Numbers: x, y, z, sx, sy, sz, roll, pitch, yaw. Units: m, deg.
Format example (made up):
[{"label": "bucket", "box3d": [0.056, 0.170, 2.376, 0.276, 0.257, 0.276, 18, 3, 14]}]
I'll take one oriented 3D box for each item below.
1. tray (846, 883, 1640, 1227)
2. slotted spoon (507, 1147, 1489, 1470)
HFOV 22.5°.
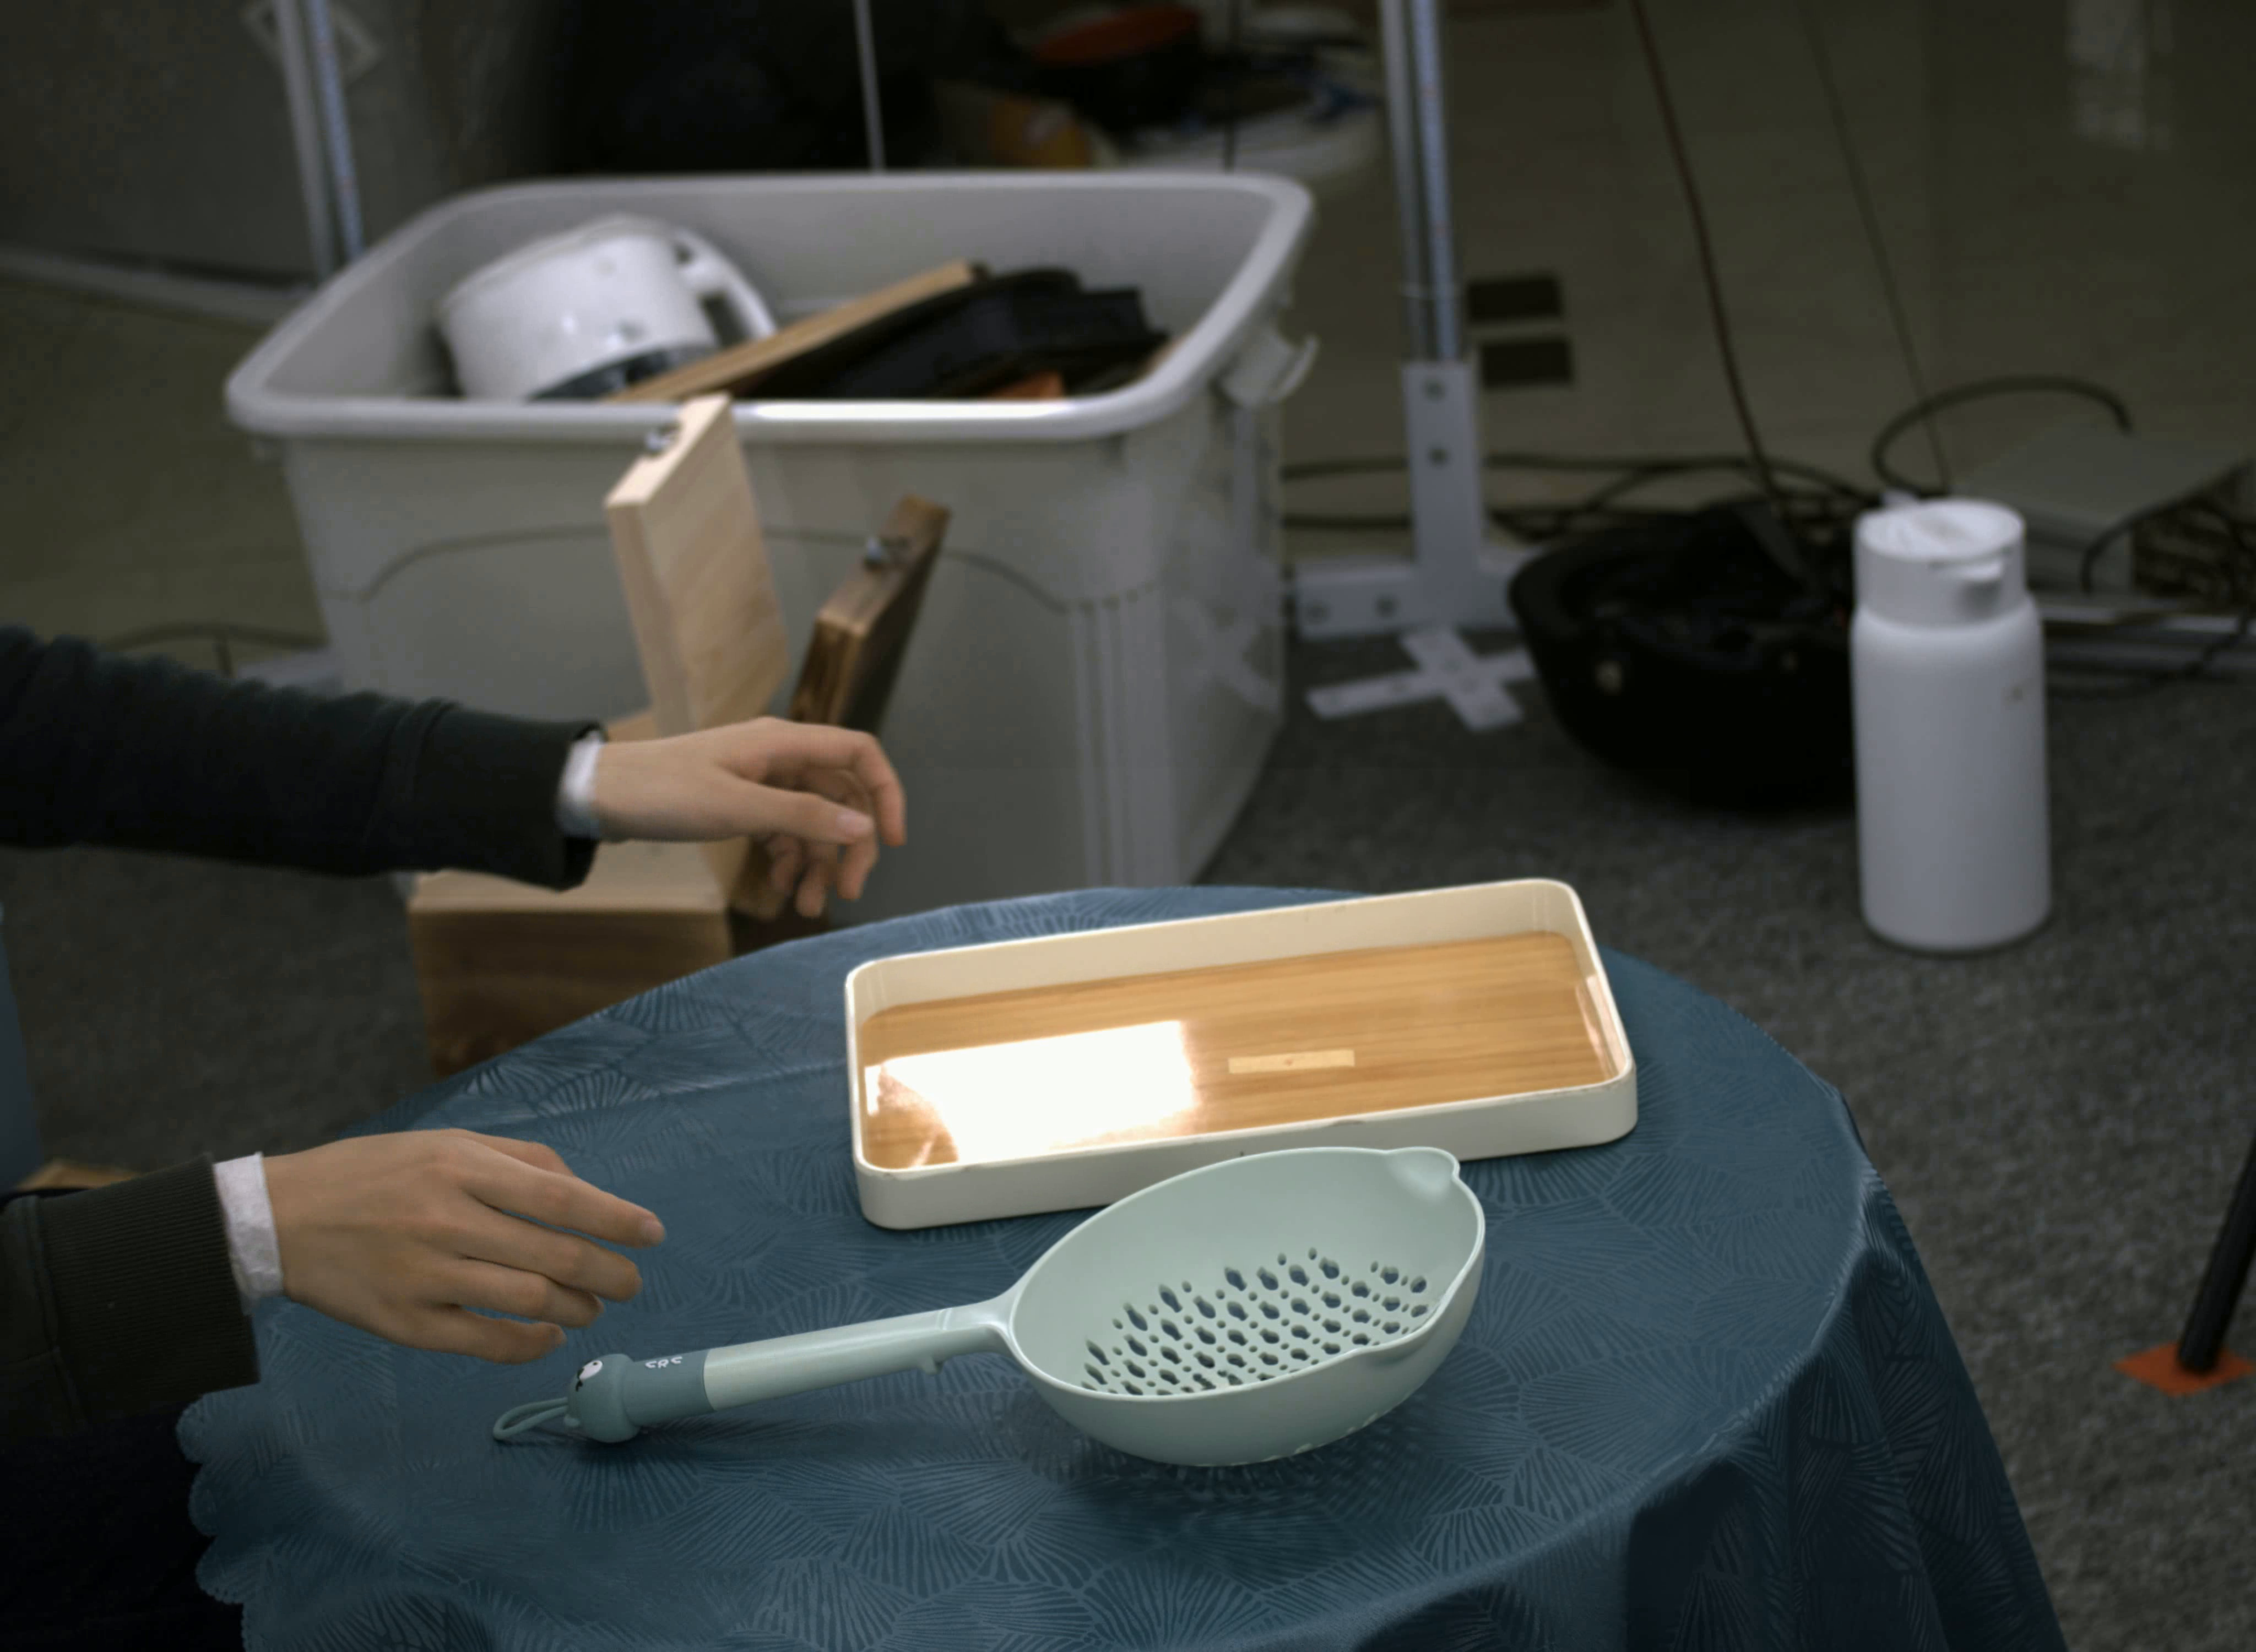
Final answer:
[{"label": "tray", "box3d": [0.041, 0.088, 2.222, 0.300, 0.028, 0.189, -6, 25, -1]}, {"label": "slotted spoon", "box3d": [-0.050, 0.181, 1.996, 0.358, 0.076, 0.167, -2, 25, 9]}]
